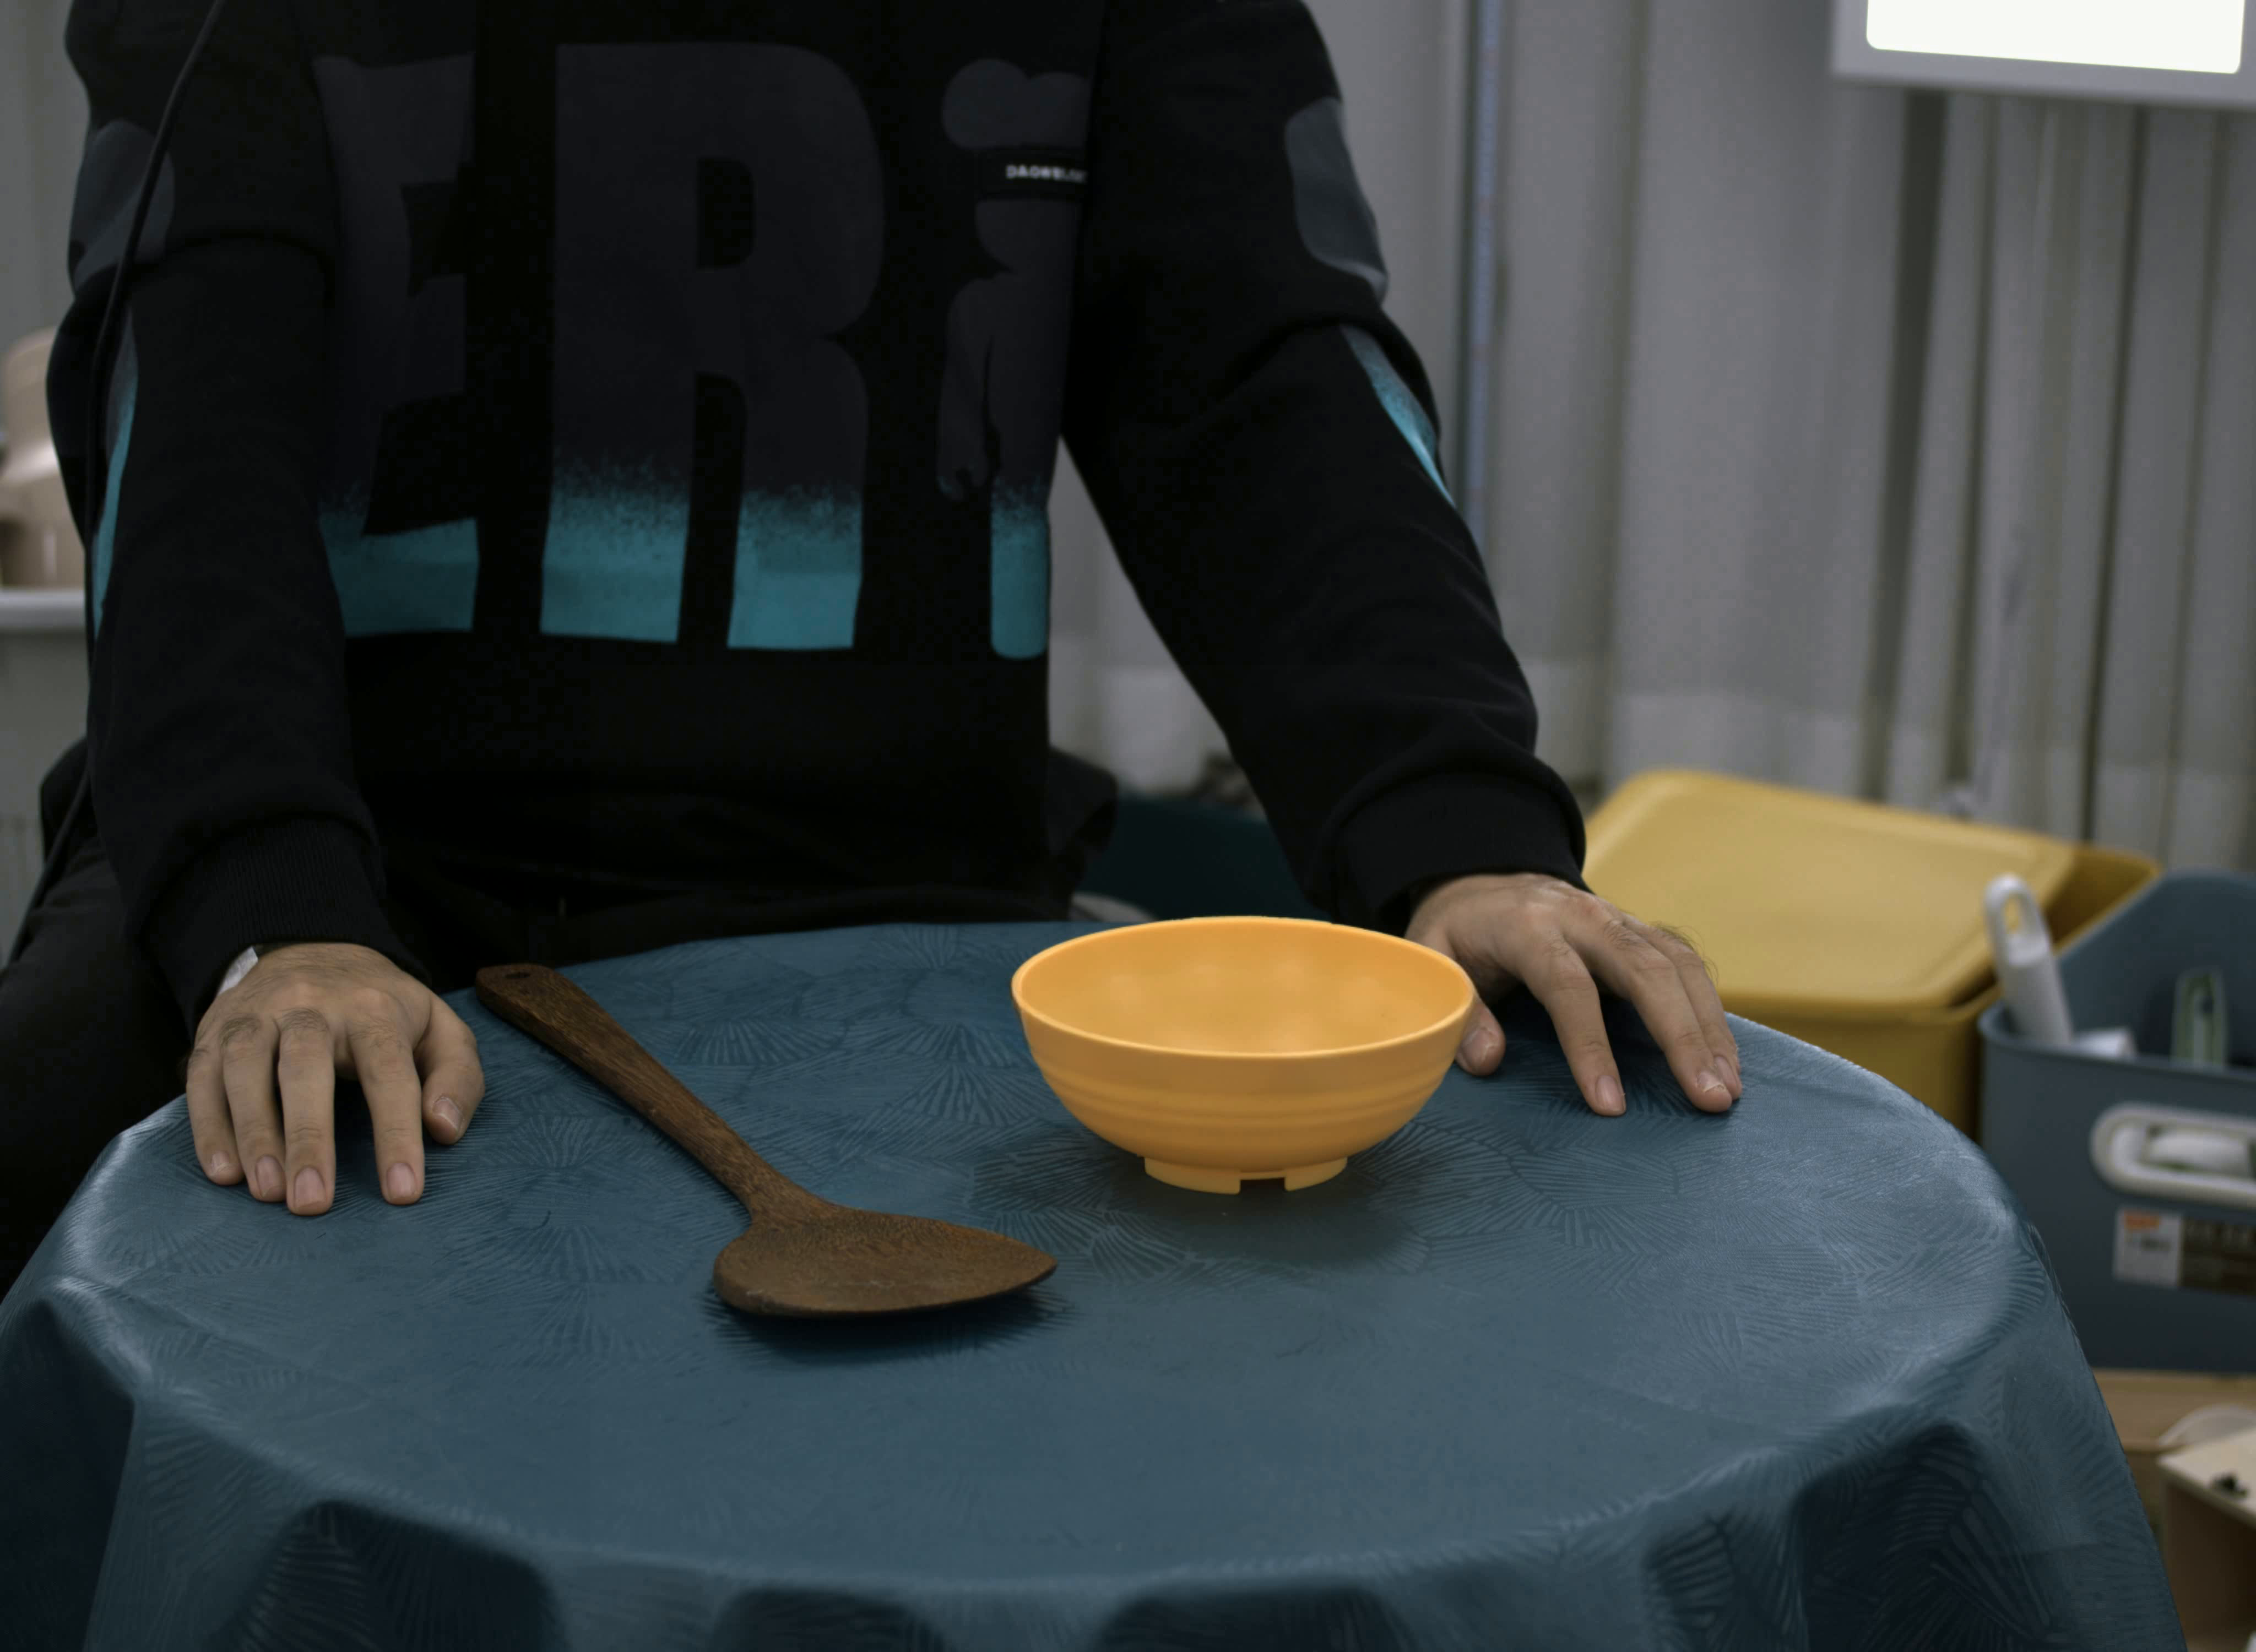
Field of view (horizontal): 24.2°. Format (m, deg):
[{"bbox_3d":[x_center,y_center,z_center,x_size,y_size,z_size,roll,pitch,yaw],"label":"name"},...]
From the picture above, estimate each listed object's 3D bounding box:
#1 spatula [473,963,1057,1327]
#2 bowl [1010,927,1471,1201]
[{"bbox_3d":[-0.137,0.094,1.660,0.096,0.016,0.381,-6,17,-25],"label":"spatula"},{"bbox_3d":[0.034,0.079,1.646,0.145,0.060,0.144,3,14,0],"label":"bowl"}]
